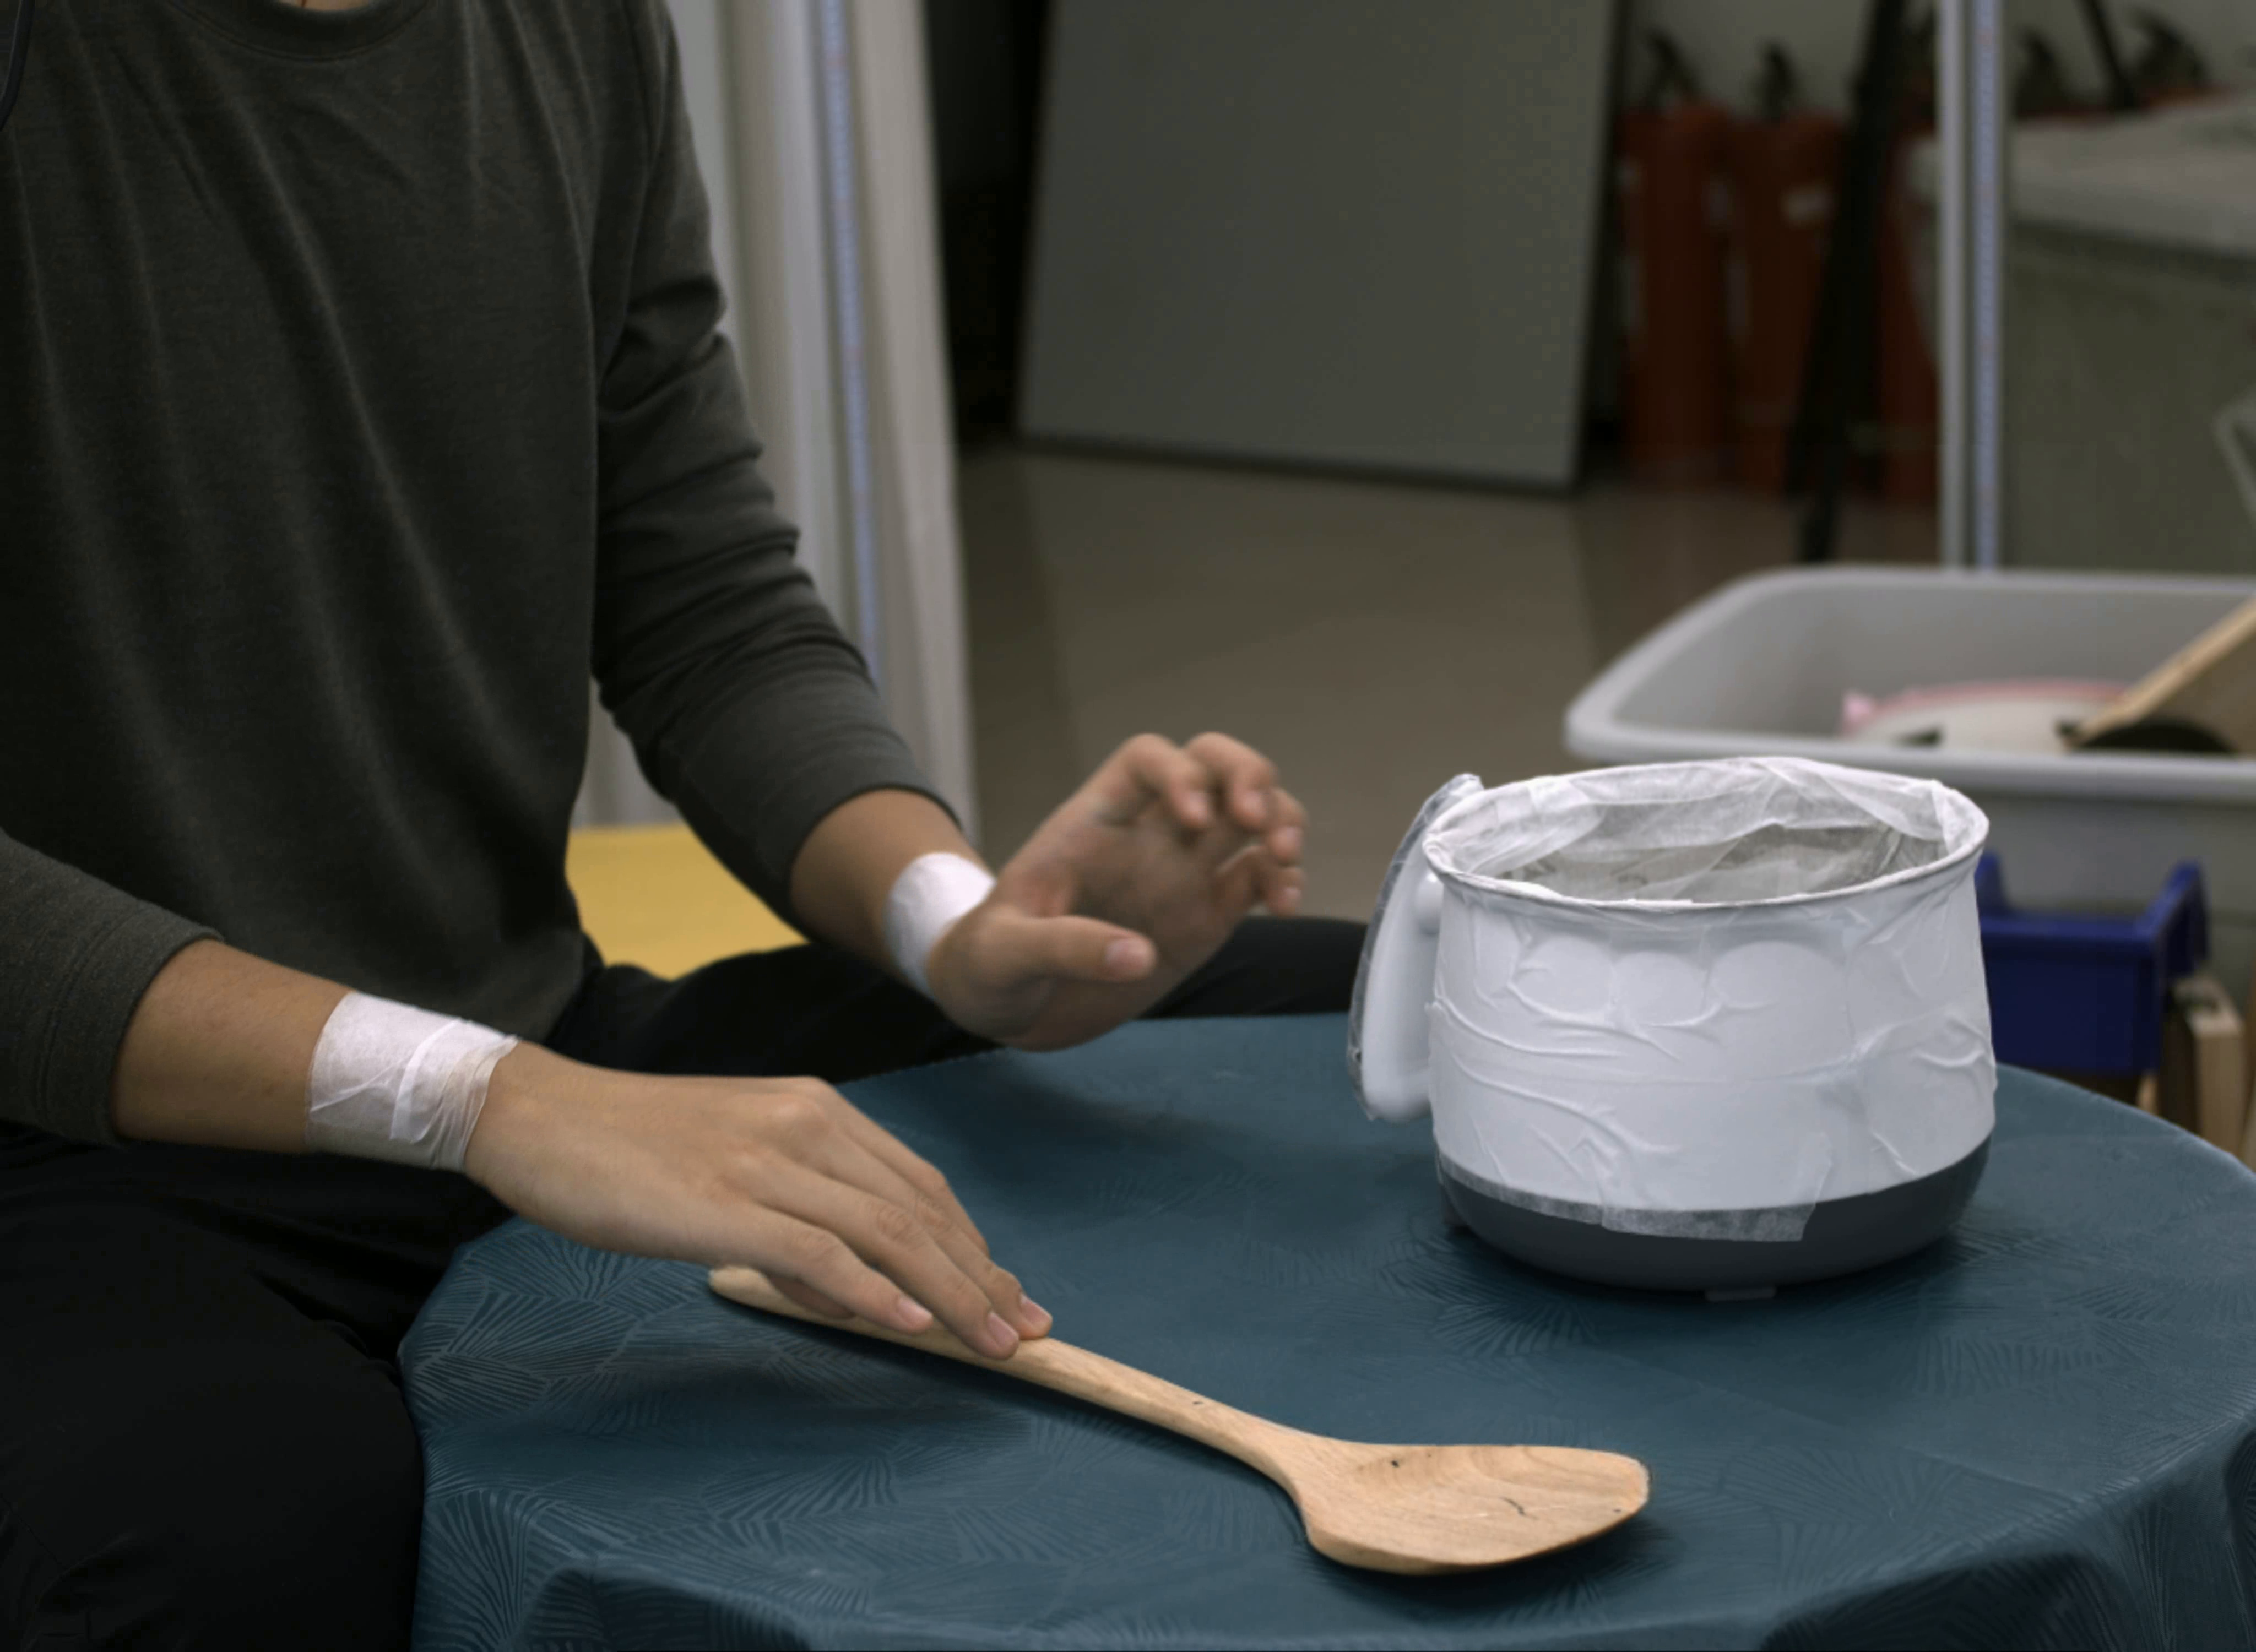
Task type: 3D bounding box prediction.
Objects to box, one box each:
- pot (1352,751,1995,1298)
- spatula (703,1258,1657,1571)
[{"bbox_3d":[0.162,0.057,1.698,0.236,0.138,0.175,9,18,44],"label":"pot"},{"bbox_3d":[-0.007,0.165,1.560,0.094,0.018,0.395,-13,16,-39],"label":"spatula"}]
